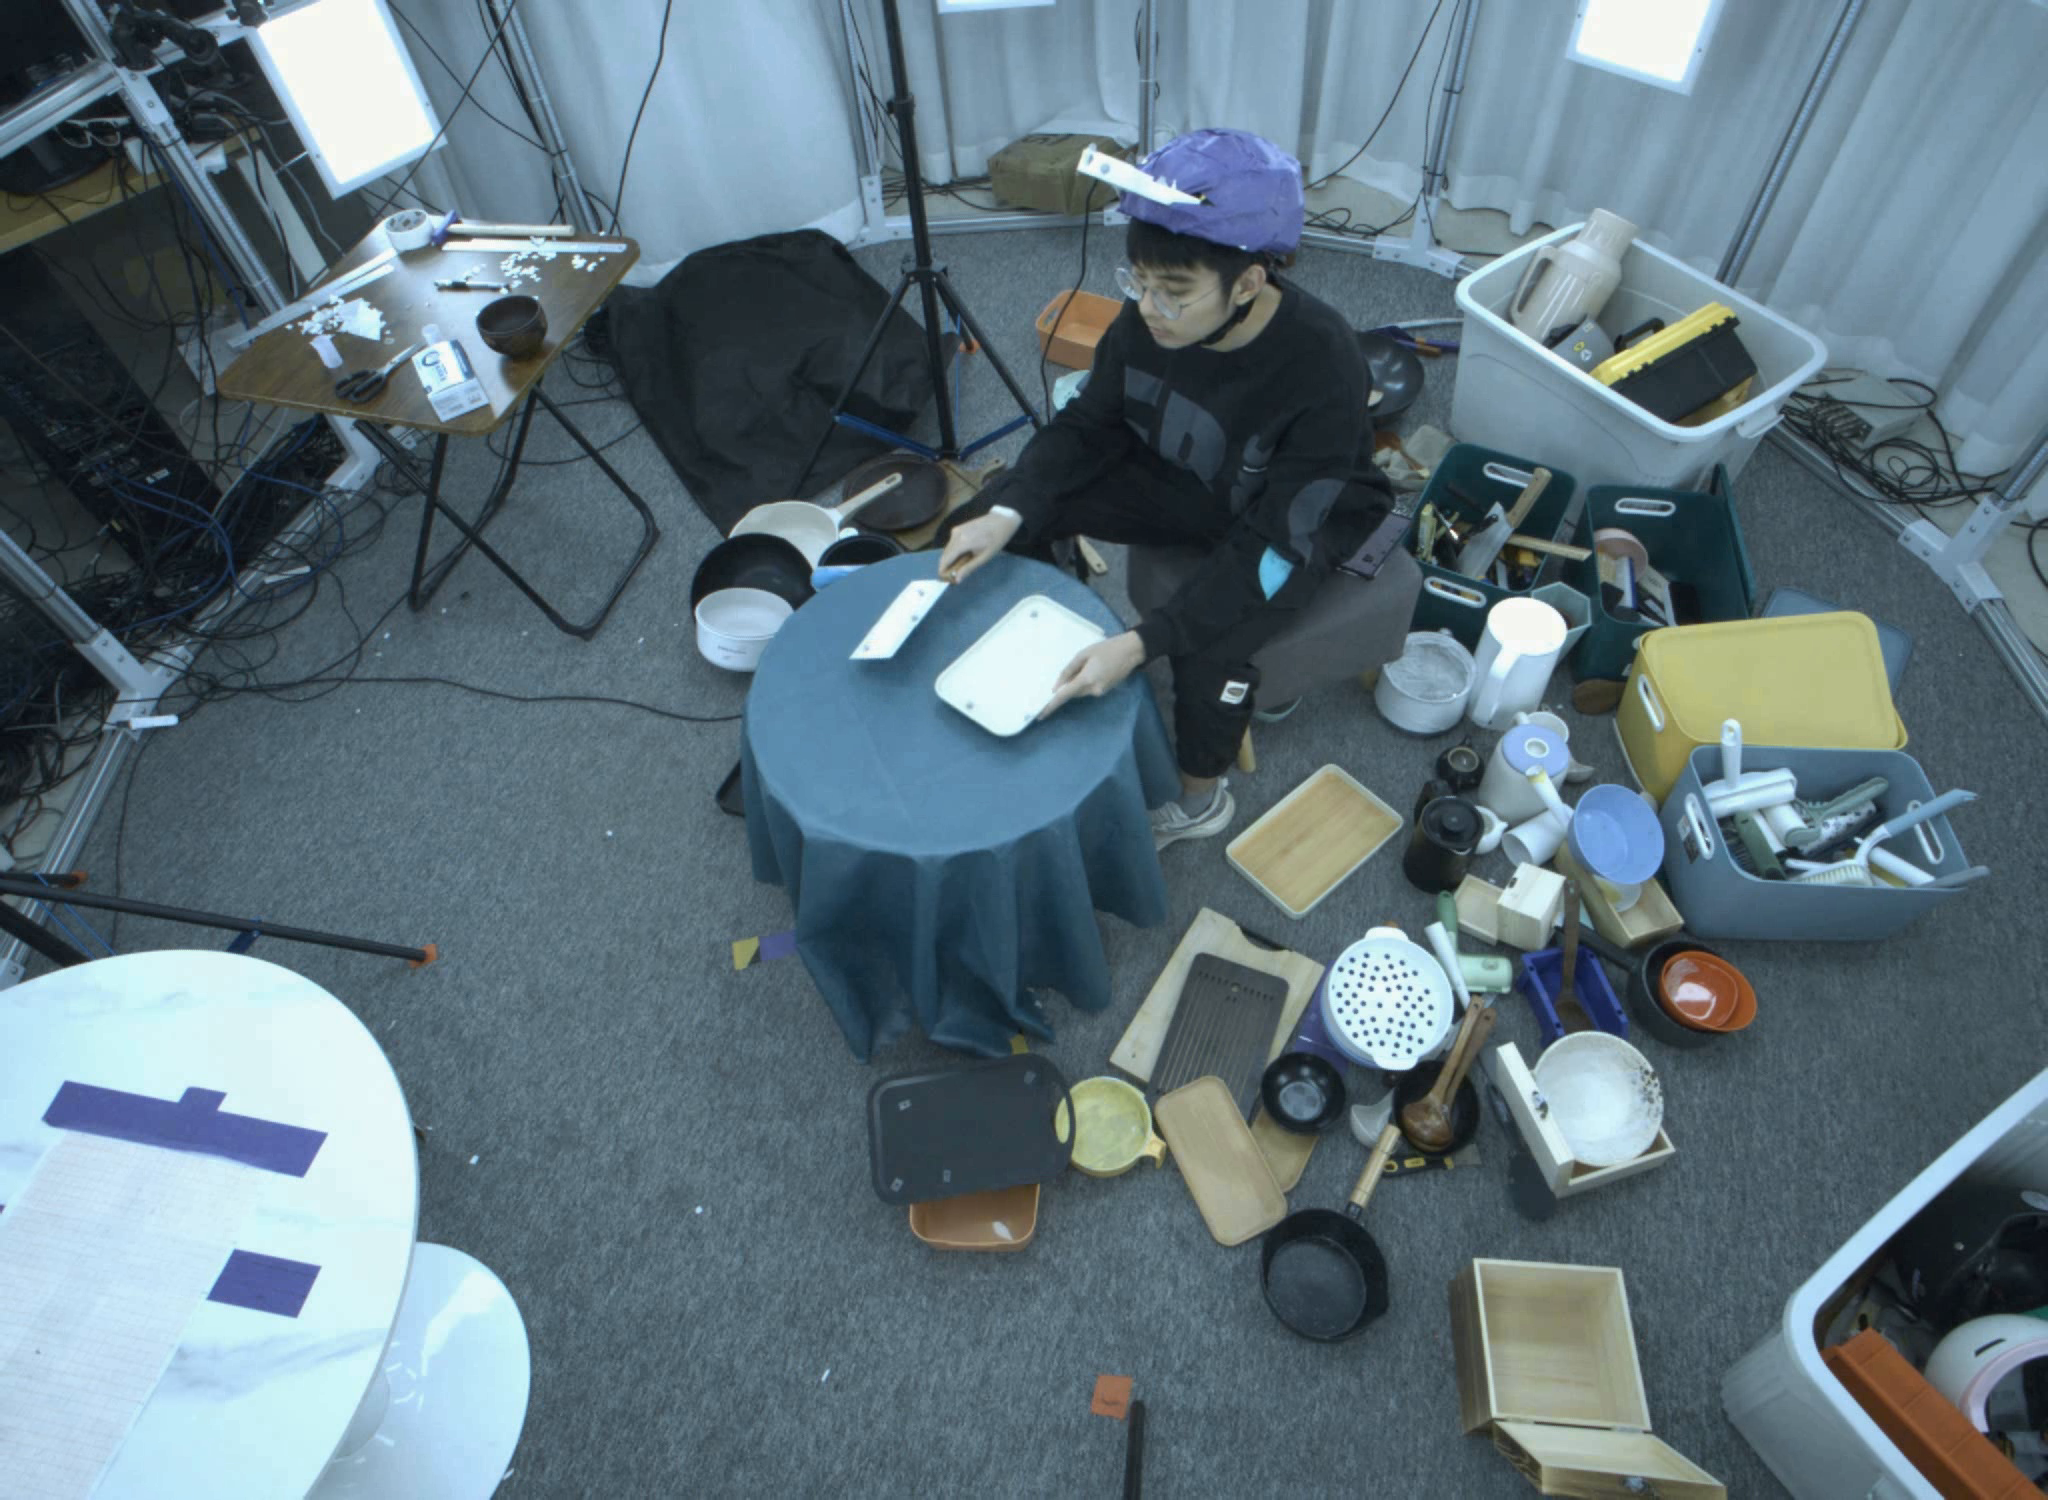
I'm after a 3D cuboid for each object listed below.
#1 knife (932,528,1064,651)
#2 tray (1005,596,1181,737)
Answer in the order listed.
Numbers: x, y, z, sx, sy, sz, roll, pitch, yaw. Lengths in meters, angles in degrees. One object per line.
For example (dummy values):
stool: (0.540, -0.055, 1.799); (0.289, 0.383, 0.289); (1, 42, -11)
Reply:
knife: (-0.044, -0.252, 1.916); (0.091, 0.021, 0.307); (5, 46, 40)
tray: (0.102, -0.125, 1.821); (0.241, 0.018, 0.168); (-40, 59, -18)
